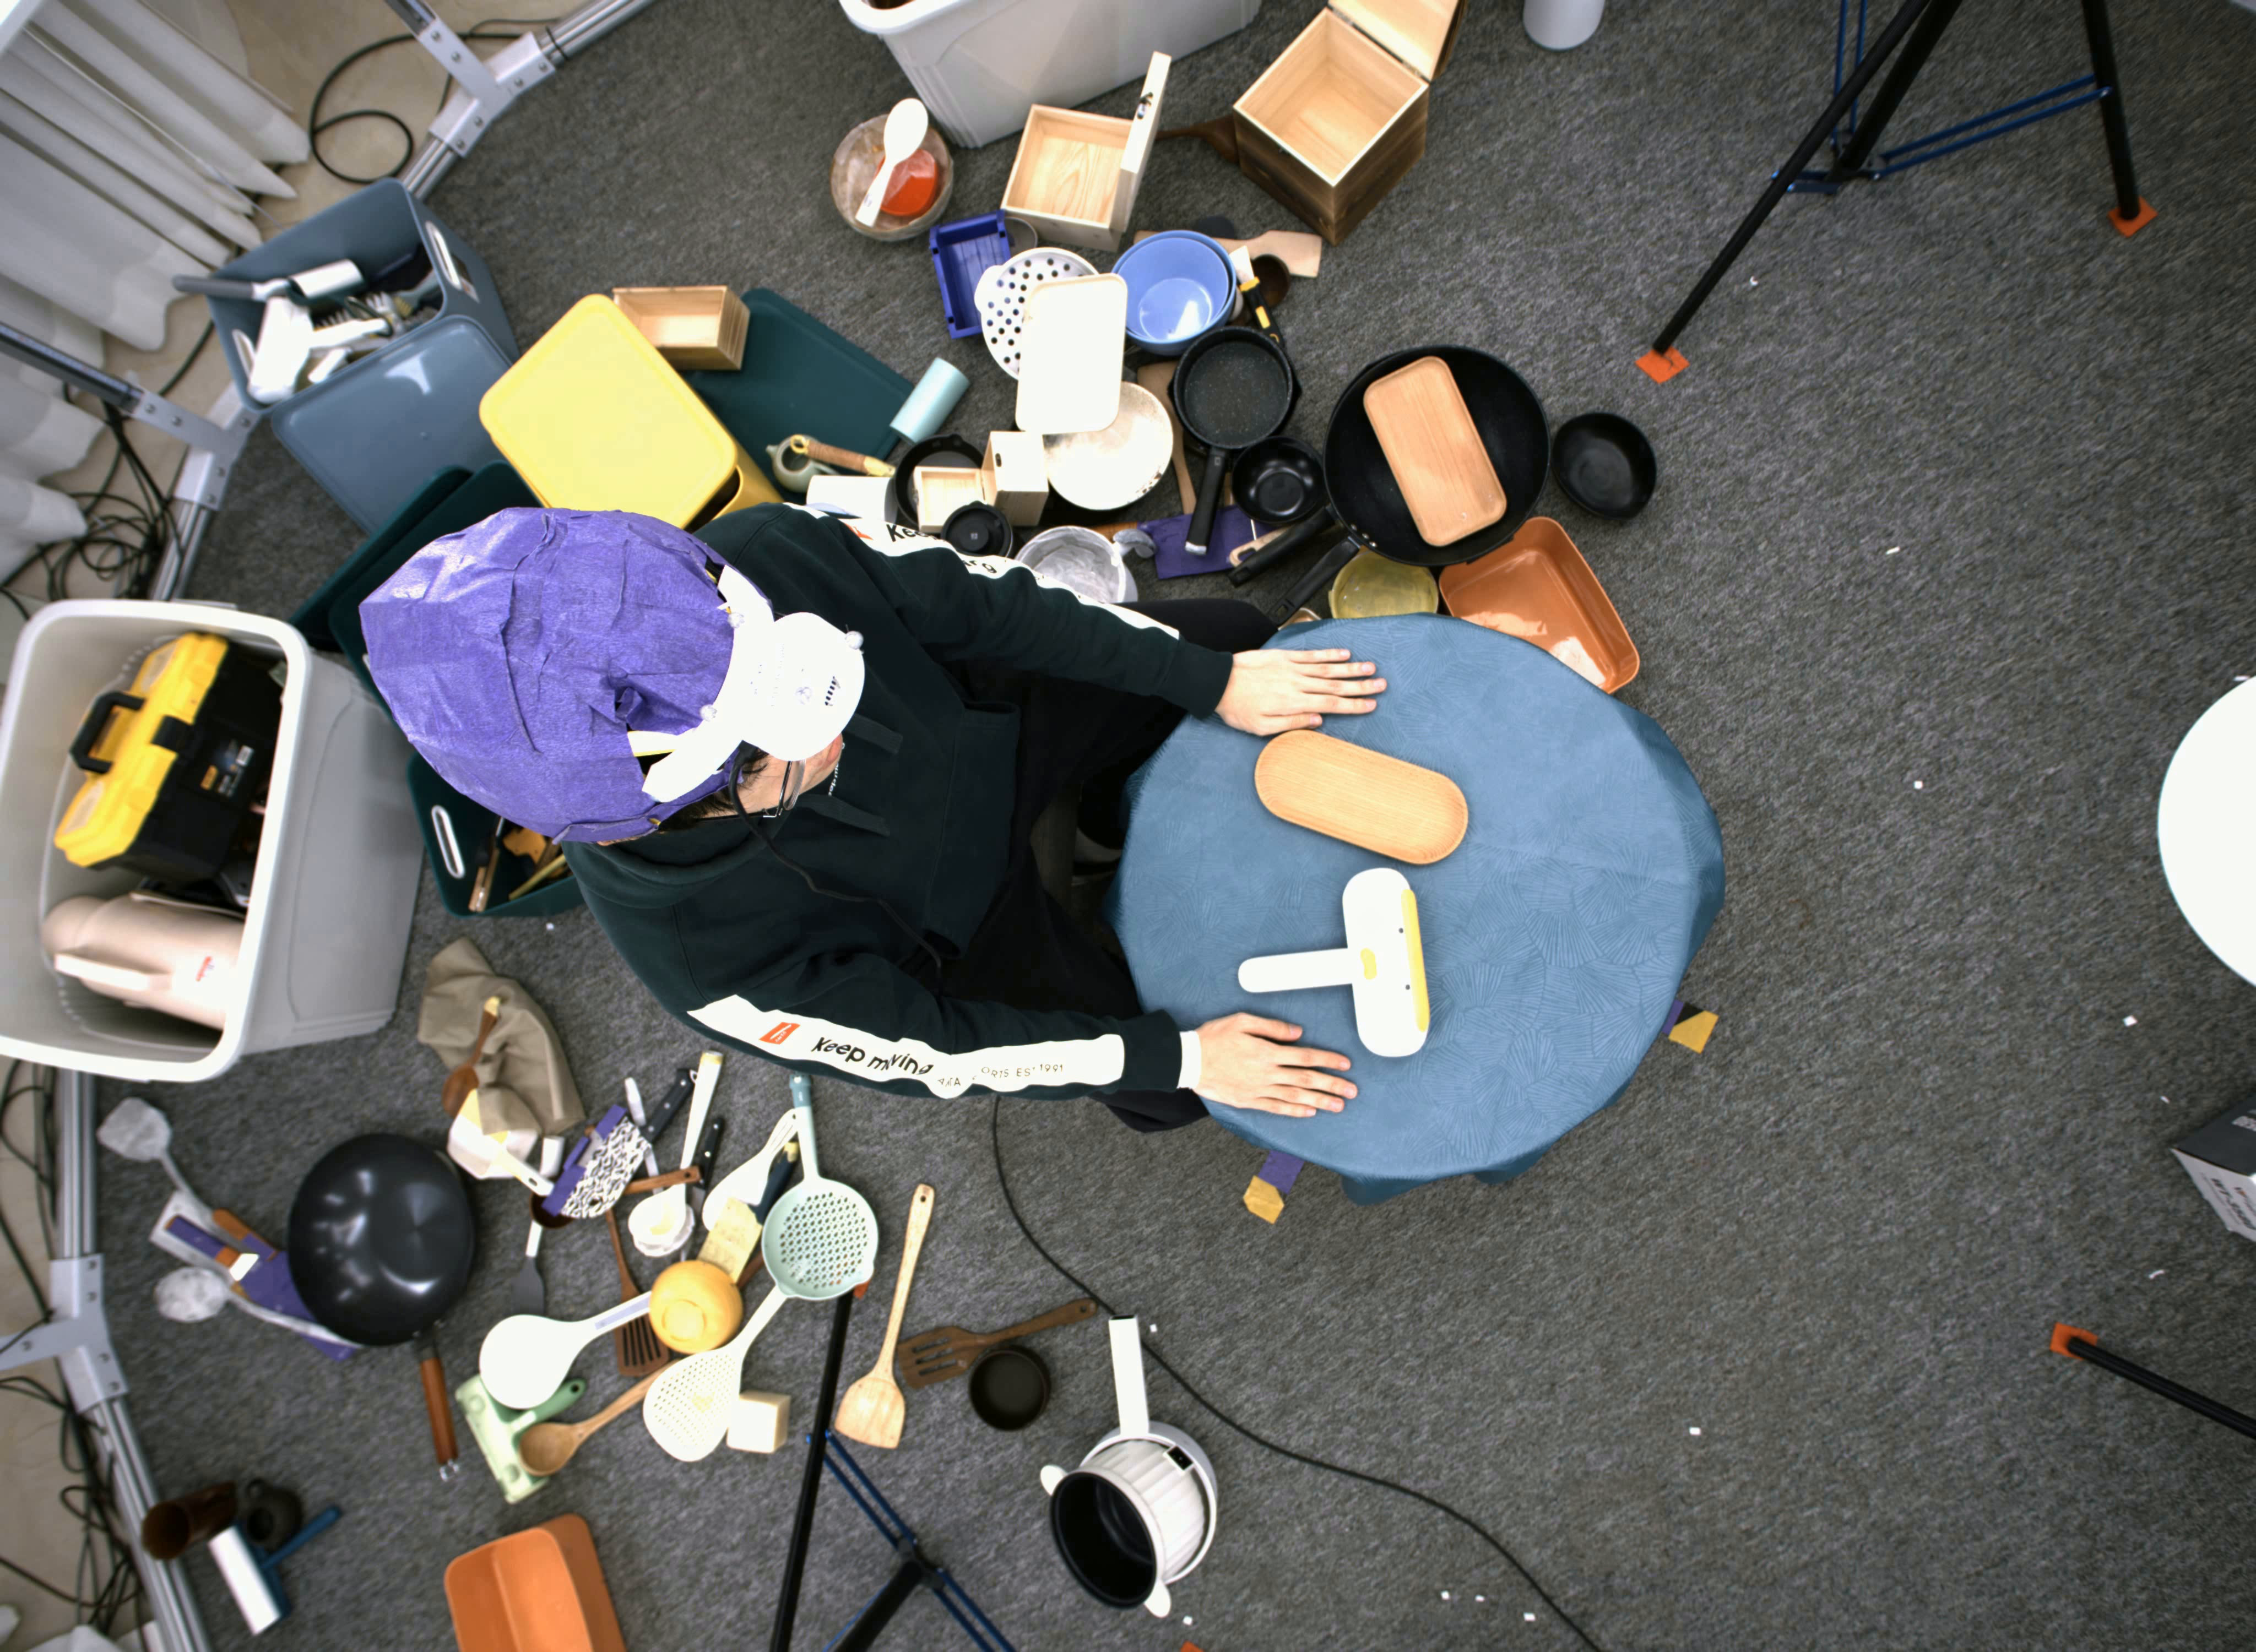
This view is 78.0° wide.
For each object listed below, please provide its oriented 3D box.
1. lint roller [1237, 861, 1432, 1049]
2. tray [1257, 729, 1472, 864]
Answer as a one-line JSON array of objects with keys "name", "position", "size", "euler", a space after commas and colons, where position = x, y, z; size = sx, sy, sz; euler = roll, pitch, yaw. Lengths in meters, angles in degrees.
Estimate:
[{"name": "lint roller", "position": [0.208, 0.143, 1.438], "size": [0.194, 0.073, 0.193], "euler": [-12, 91, 28]}, {"name": "tray", "position": [0.249, -0.033, 1.456], "size": [0.231, 0.020, 0.102], "euler": [19, 91, 10]}]
